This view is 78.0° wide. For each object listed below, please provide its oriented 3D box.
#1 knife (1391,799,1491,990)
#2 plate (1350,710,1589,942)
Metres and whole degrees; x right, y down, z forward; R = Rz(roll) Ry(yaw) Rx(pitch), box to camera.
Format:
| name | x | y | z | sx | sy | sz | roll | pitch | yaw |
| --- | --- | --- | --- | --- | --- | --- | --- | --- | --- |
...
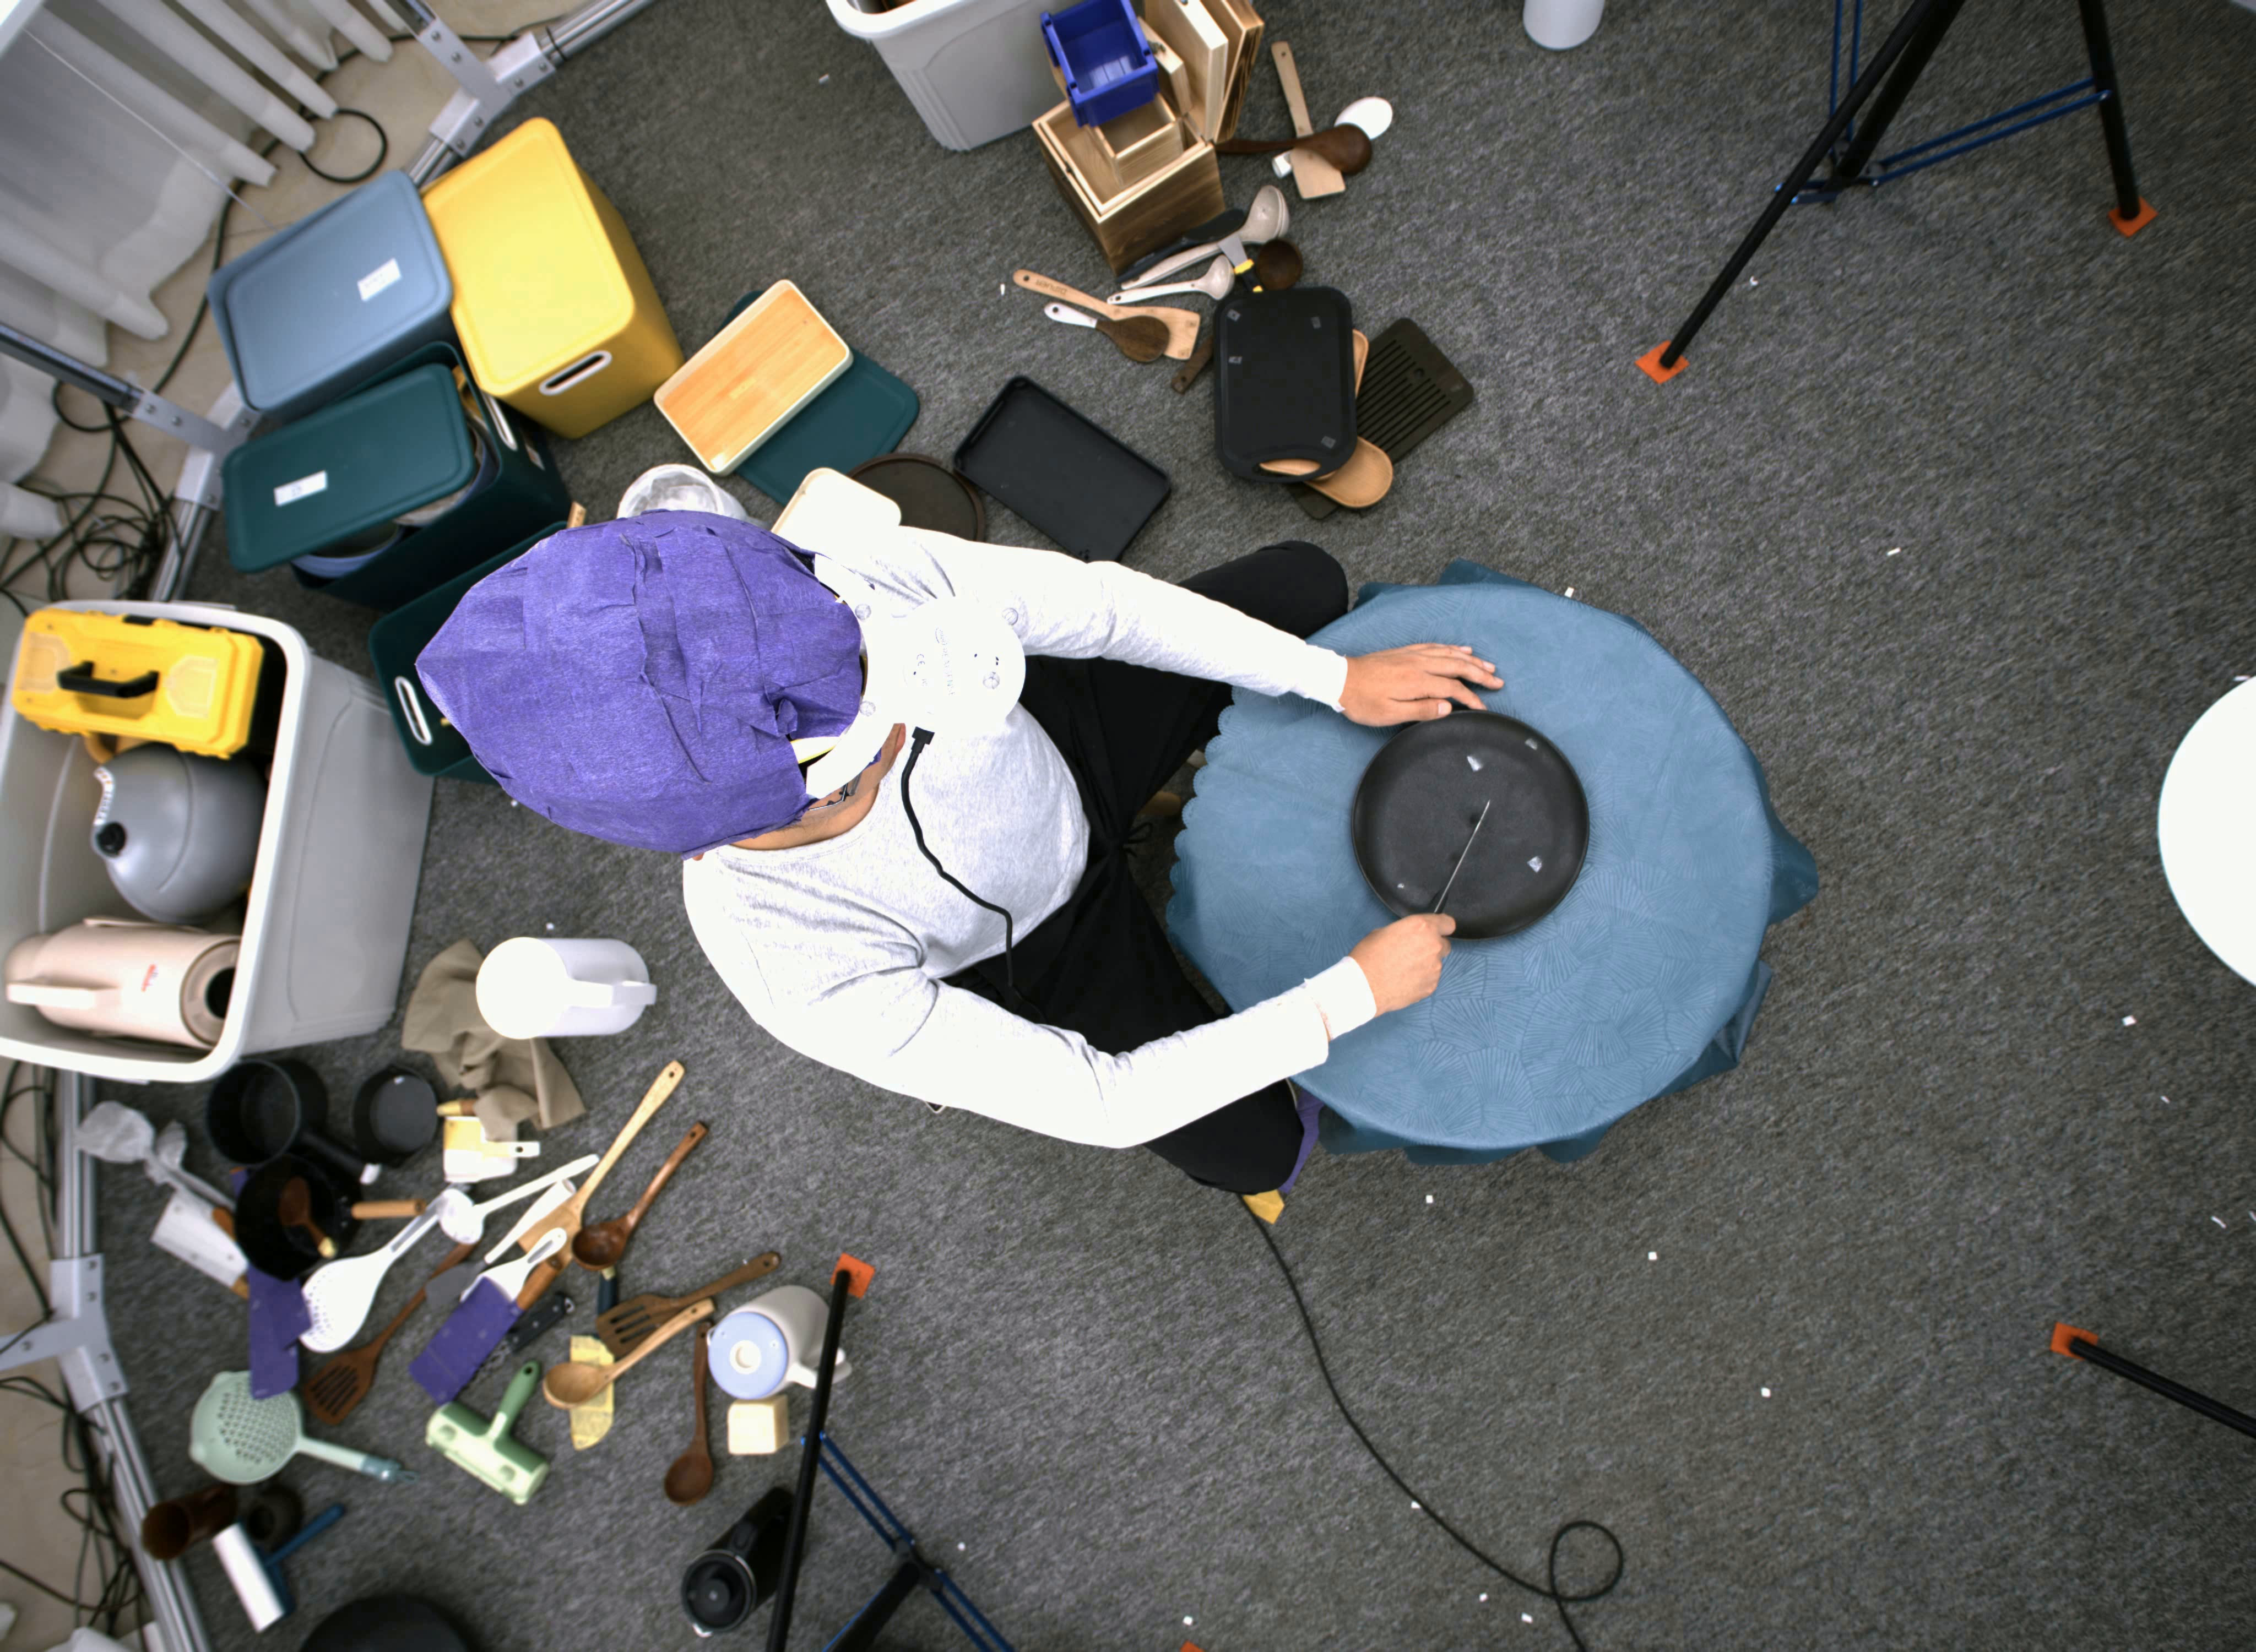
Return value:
| name | x | y | z | sx | sy | sz | roll | pitch | yaw |
| --- | --- | --- | --- | --- | --- | --- | --- | --- | --- |
| knife | 0.320 | 0.061 | 1.386 | 0.016 | 0.025 | 0.234 | 28 | 69 | 10 |
| plate | 0.356 | -0.002 | 1.437 | 0.245 | 0.023 | 0.243 | -1 | 87 | 11 |
